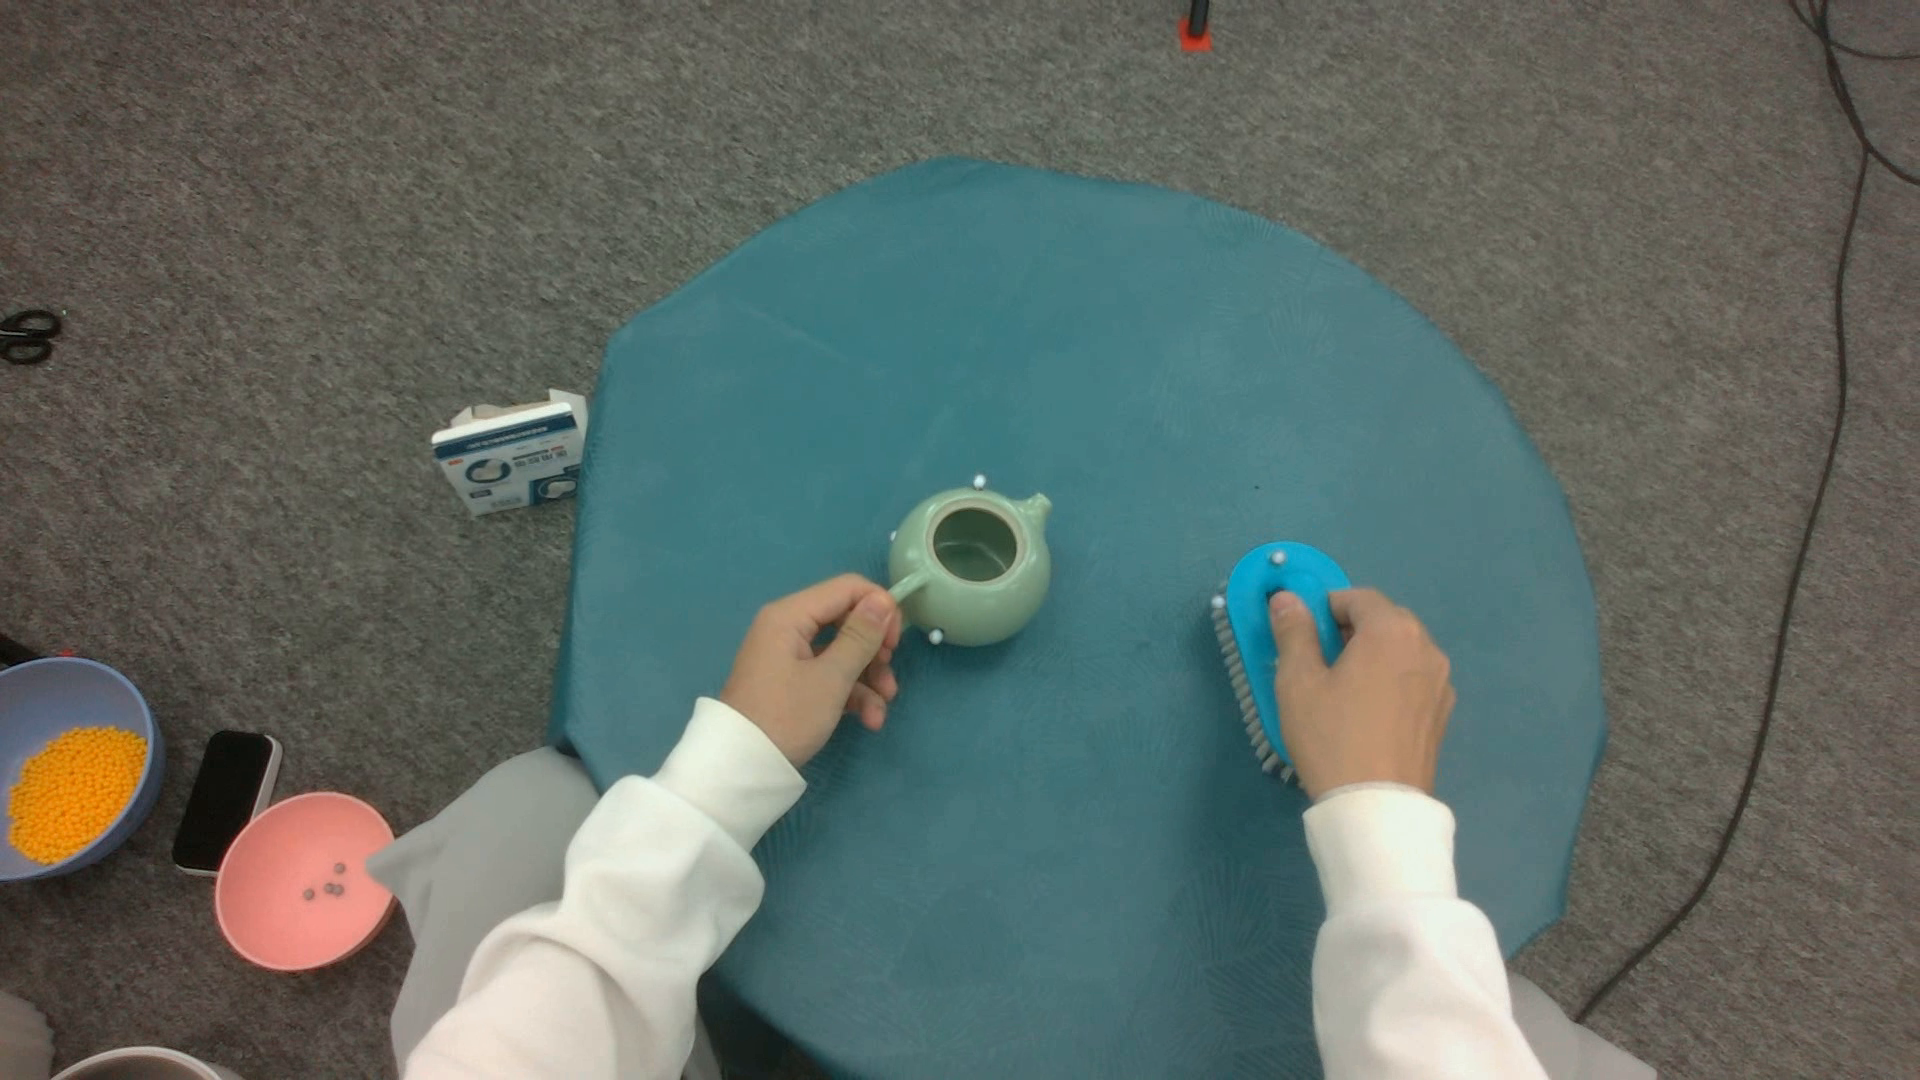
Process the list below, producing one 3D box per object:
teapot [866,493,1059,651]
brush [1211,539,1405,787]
[{"bbox_3d":[0.001,0.023,0.781,0.129,0.060,0.091,-29,69,-22],"label":"teapot"},{"bbox_3d":[0.198,0.062,0.765,0.084,0.063,0.142,-12,70,-12],"label":"brush"}]
